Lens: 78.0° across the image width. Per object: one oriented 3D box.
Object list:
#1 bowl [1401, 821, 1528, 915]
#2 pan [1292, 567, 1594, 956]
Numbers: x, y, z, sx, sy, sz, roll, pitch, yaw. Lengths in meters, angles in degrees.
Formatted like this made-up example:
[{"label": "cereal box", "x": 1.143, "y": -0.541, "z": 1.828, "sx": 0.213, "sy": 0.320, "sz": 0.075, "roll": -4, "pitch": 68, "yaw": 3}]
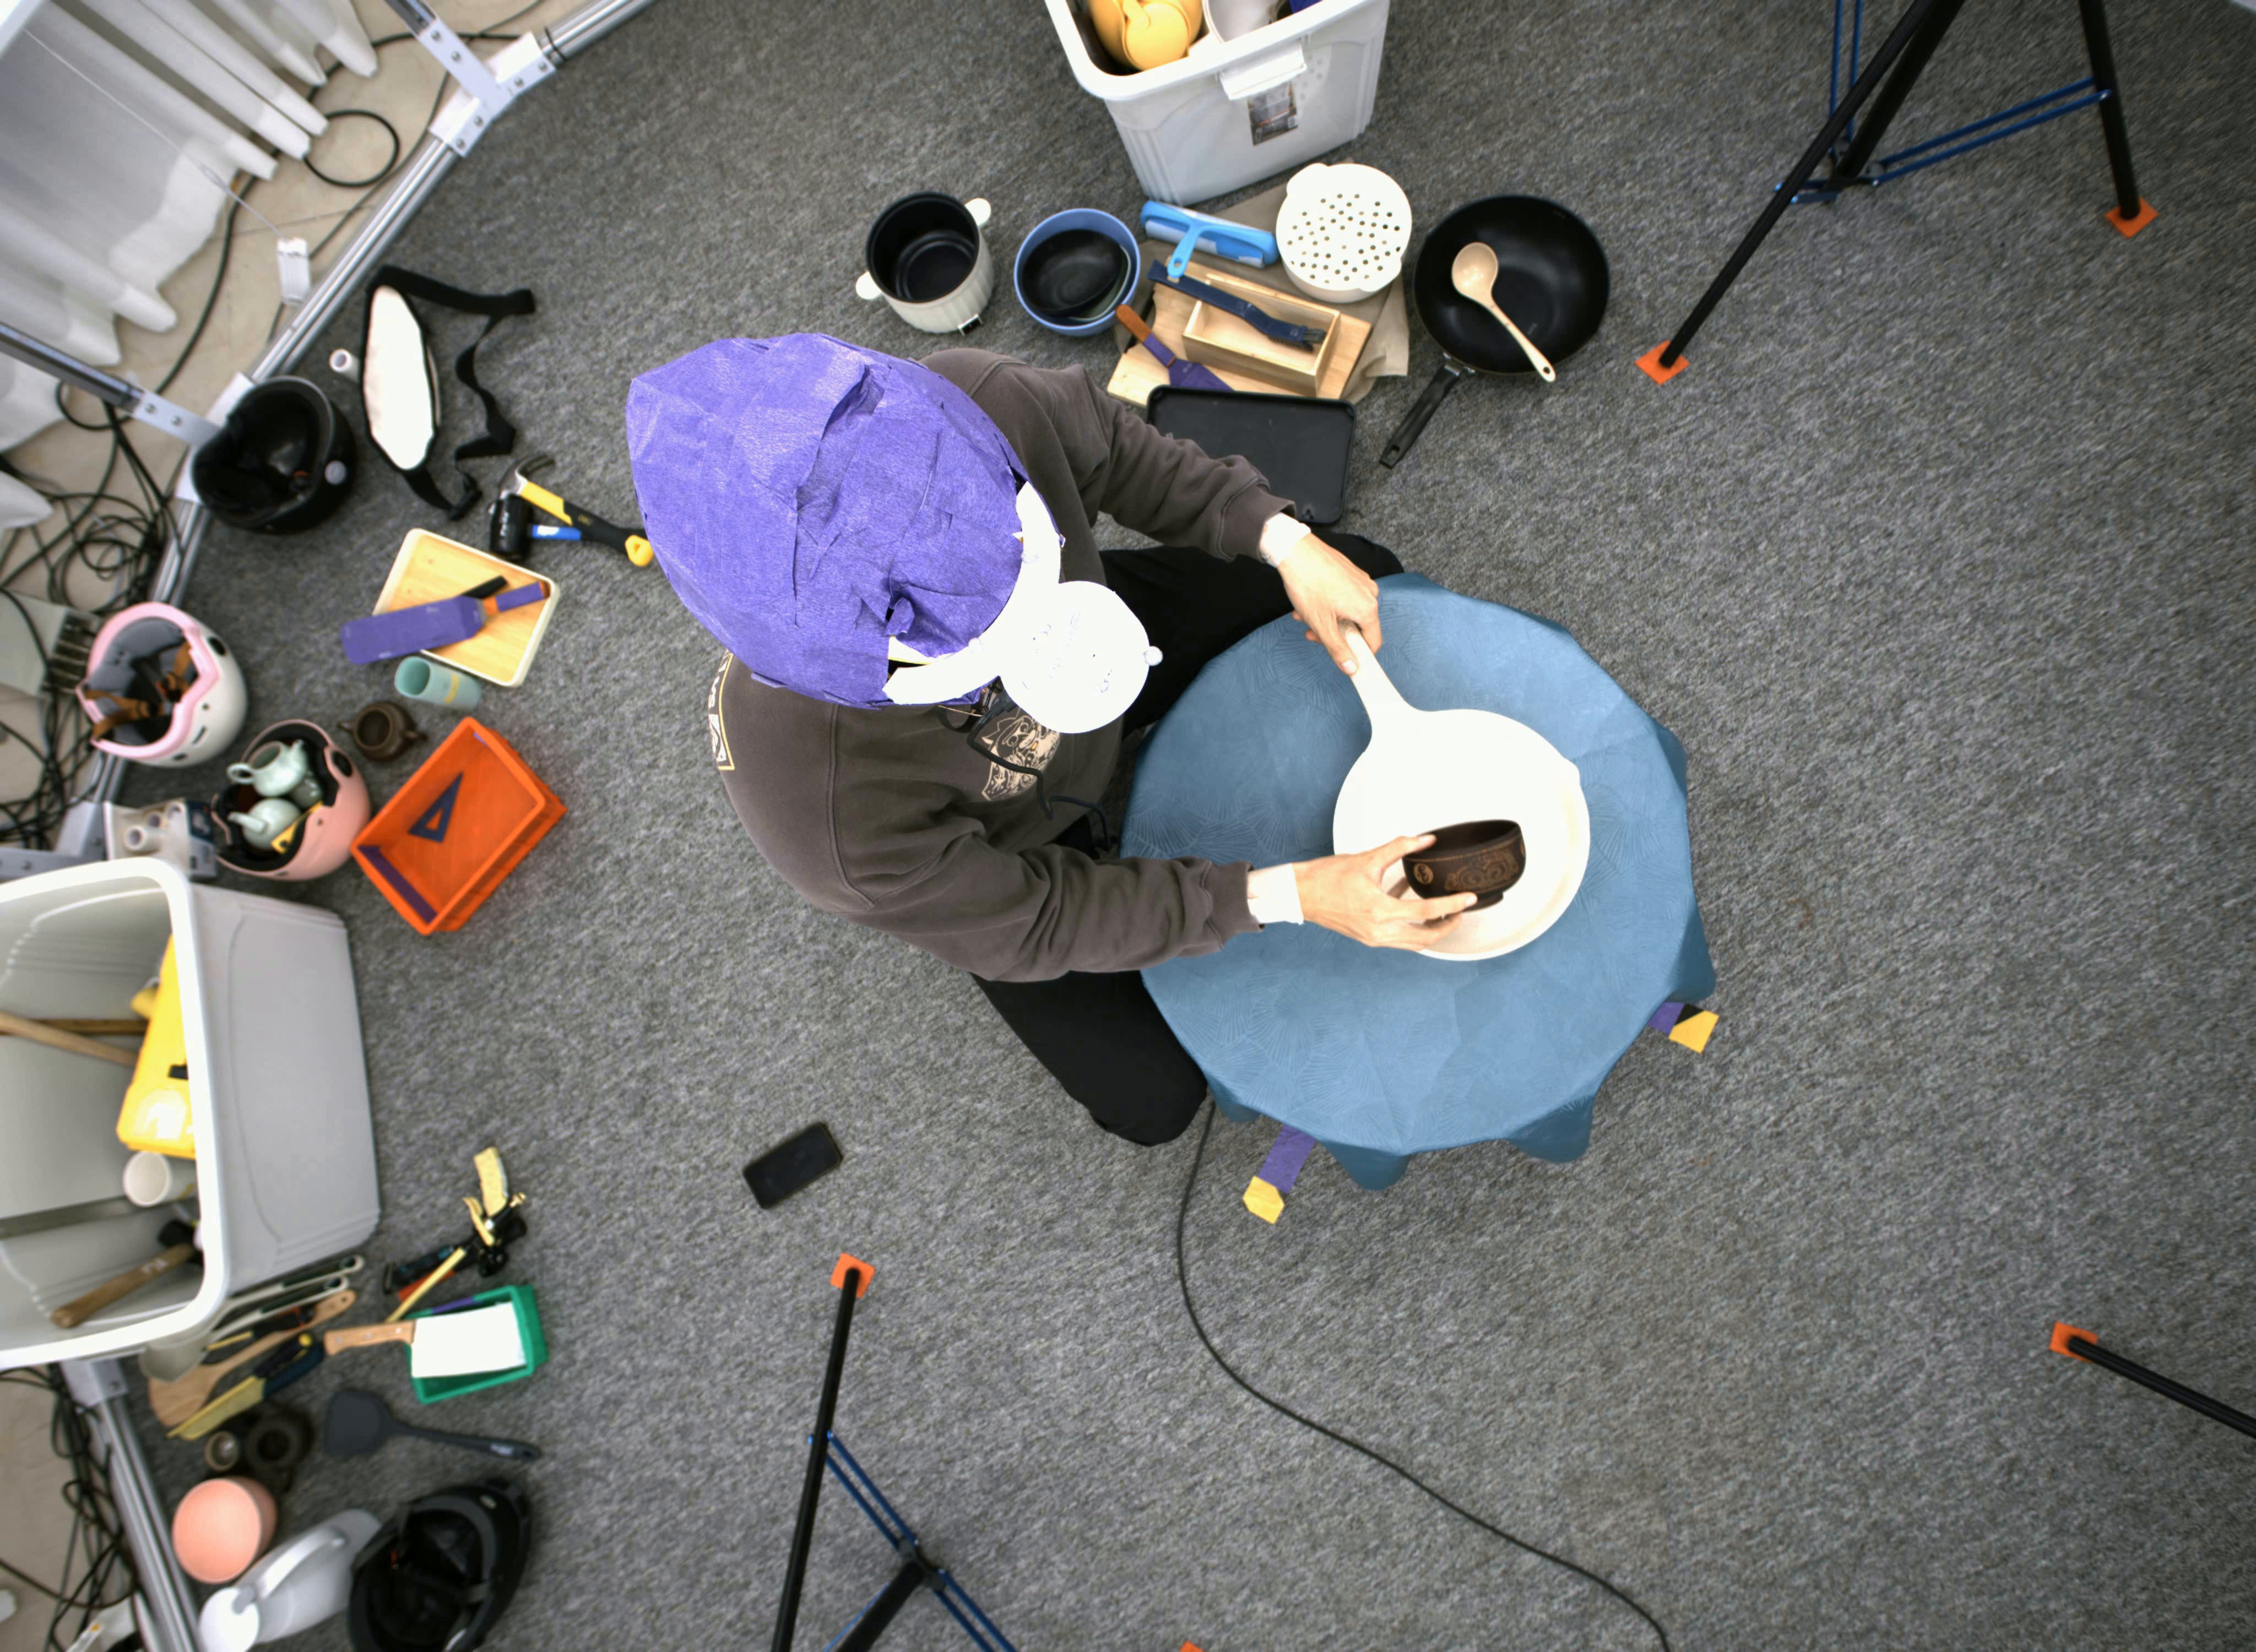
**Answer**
[{"label": "bowl", "x": 0.326, "y": 0.042, "z": 1.320, "sx": 0.118, "sy": 0.116, "sz": 0.070, "roll": -15, "pitch": 99, "yaw": 9}, {"label": "pan", "x": 0.294, "y": -0.074, "z": 1.410, "sx": 0.265, "sy": 0.102, "sz": 0.432, "roll": -31, "pitch": 82, "yaw": 9}]
